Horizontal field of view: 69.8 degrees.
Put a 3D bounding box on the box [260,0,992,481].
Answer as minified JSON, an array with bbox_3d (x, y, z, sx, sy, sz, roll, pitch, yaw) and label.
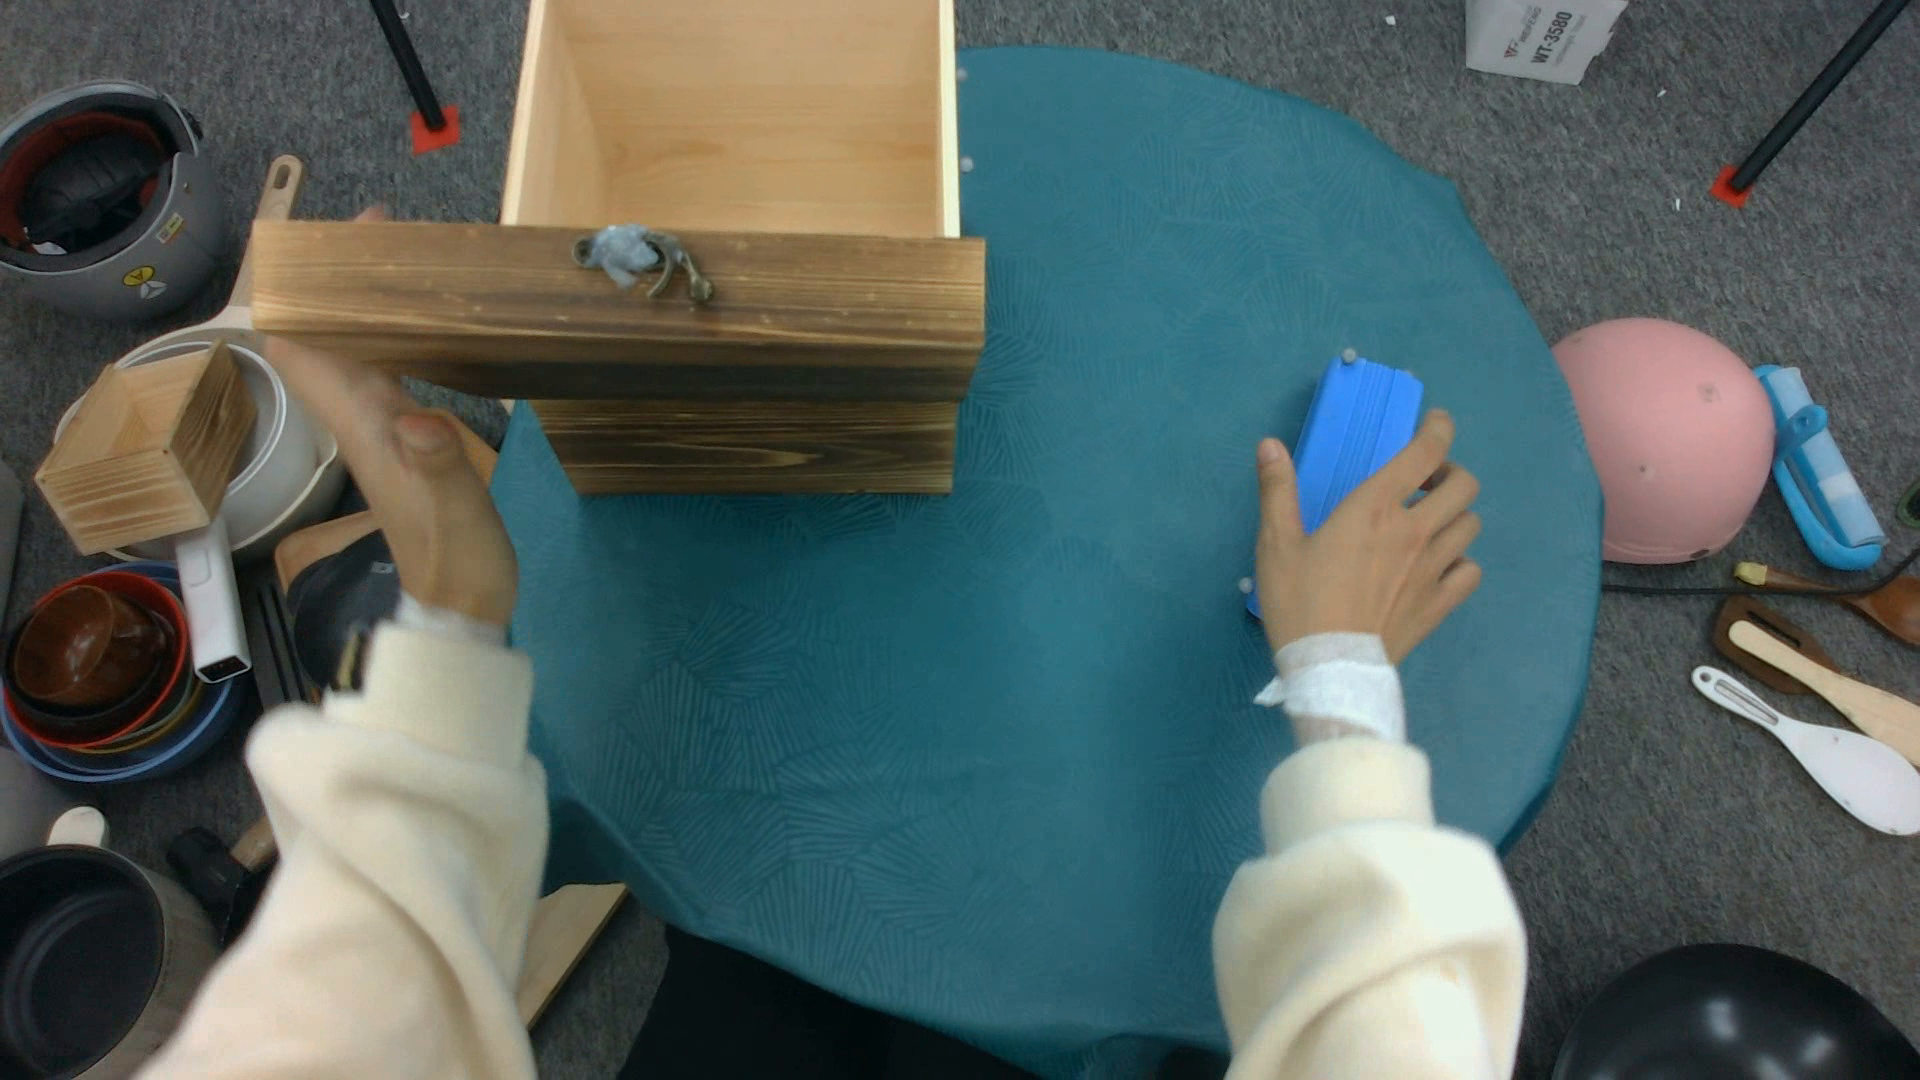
[{"bbox_3d":[-0.109,-0.148,0.596,0.209,0.374,0.323,0,67,-4],"label":"box"}]

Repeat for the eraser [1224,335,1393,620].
[{"bbox_3d":[0.188,-0.038,0.732,0.054,0.047,0.163,19,66,6],"label":"eraser"}]
